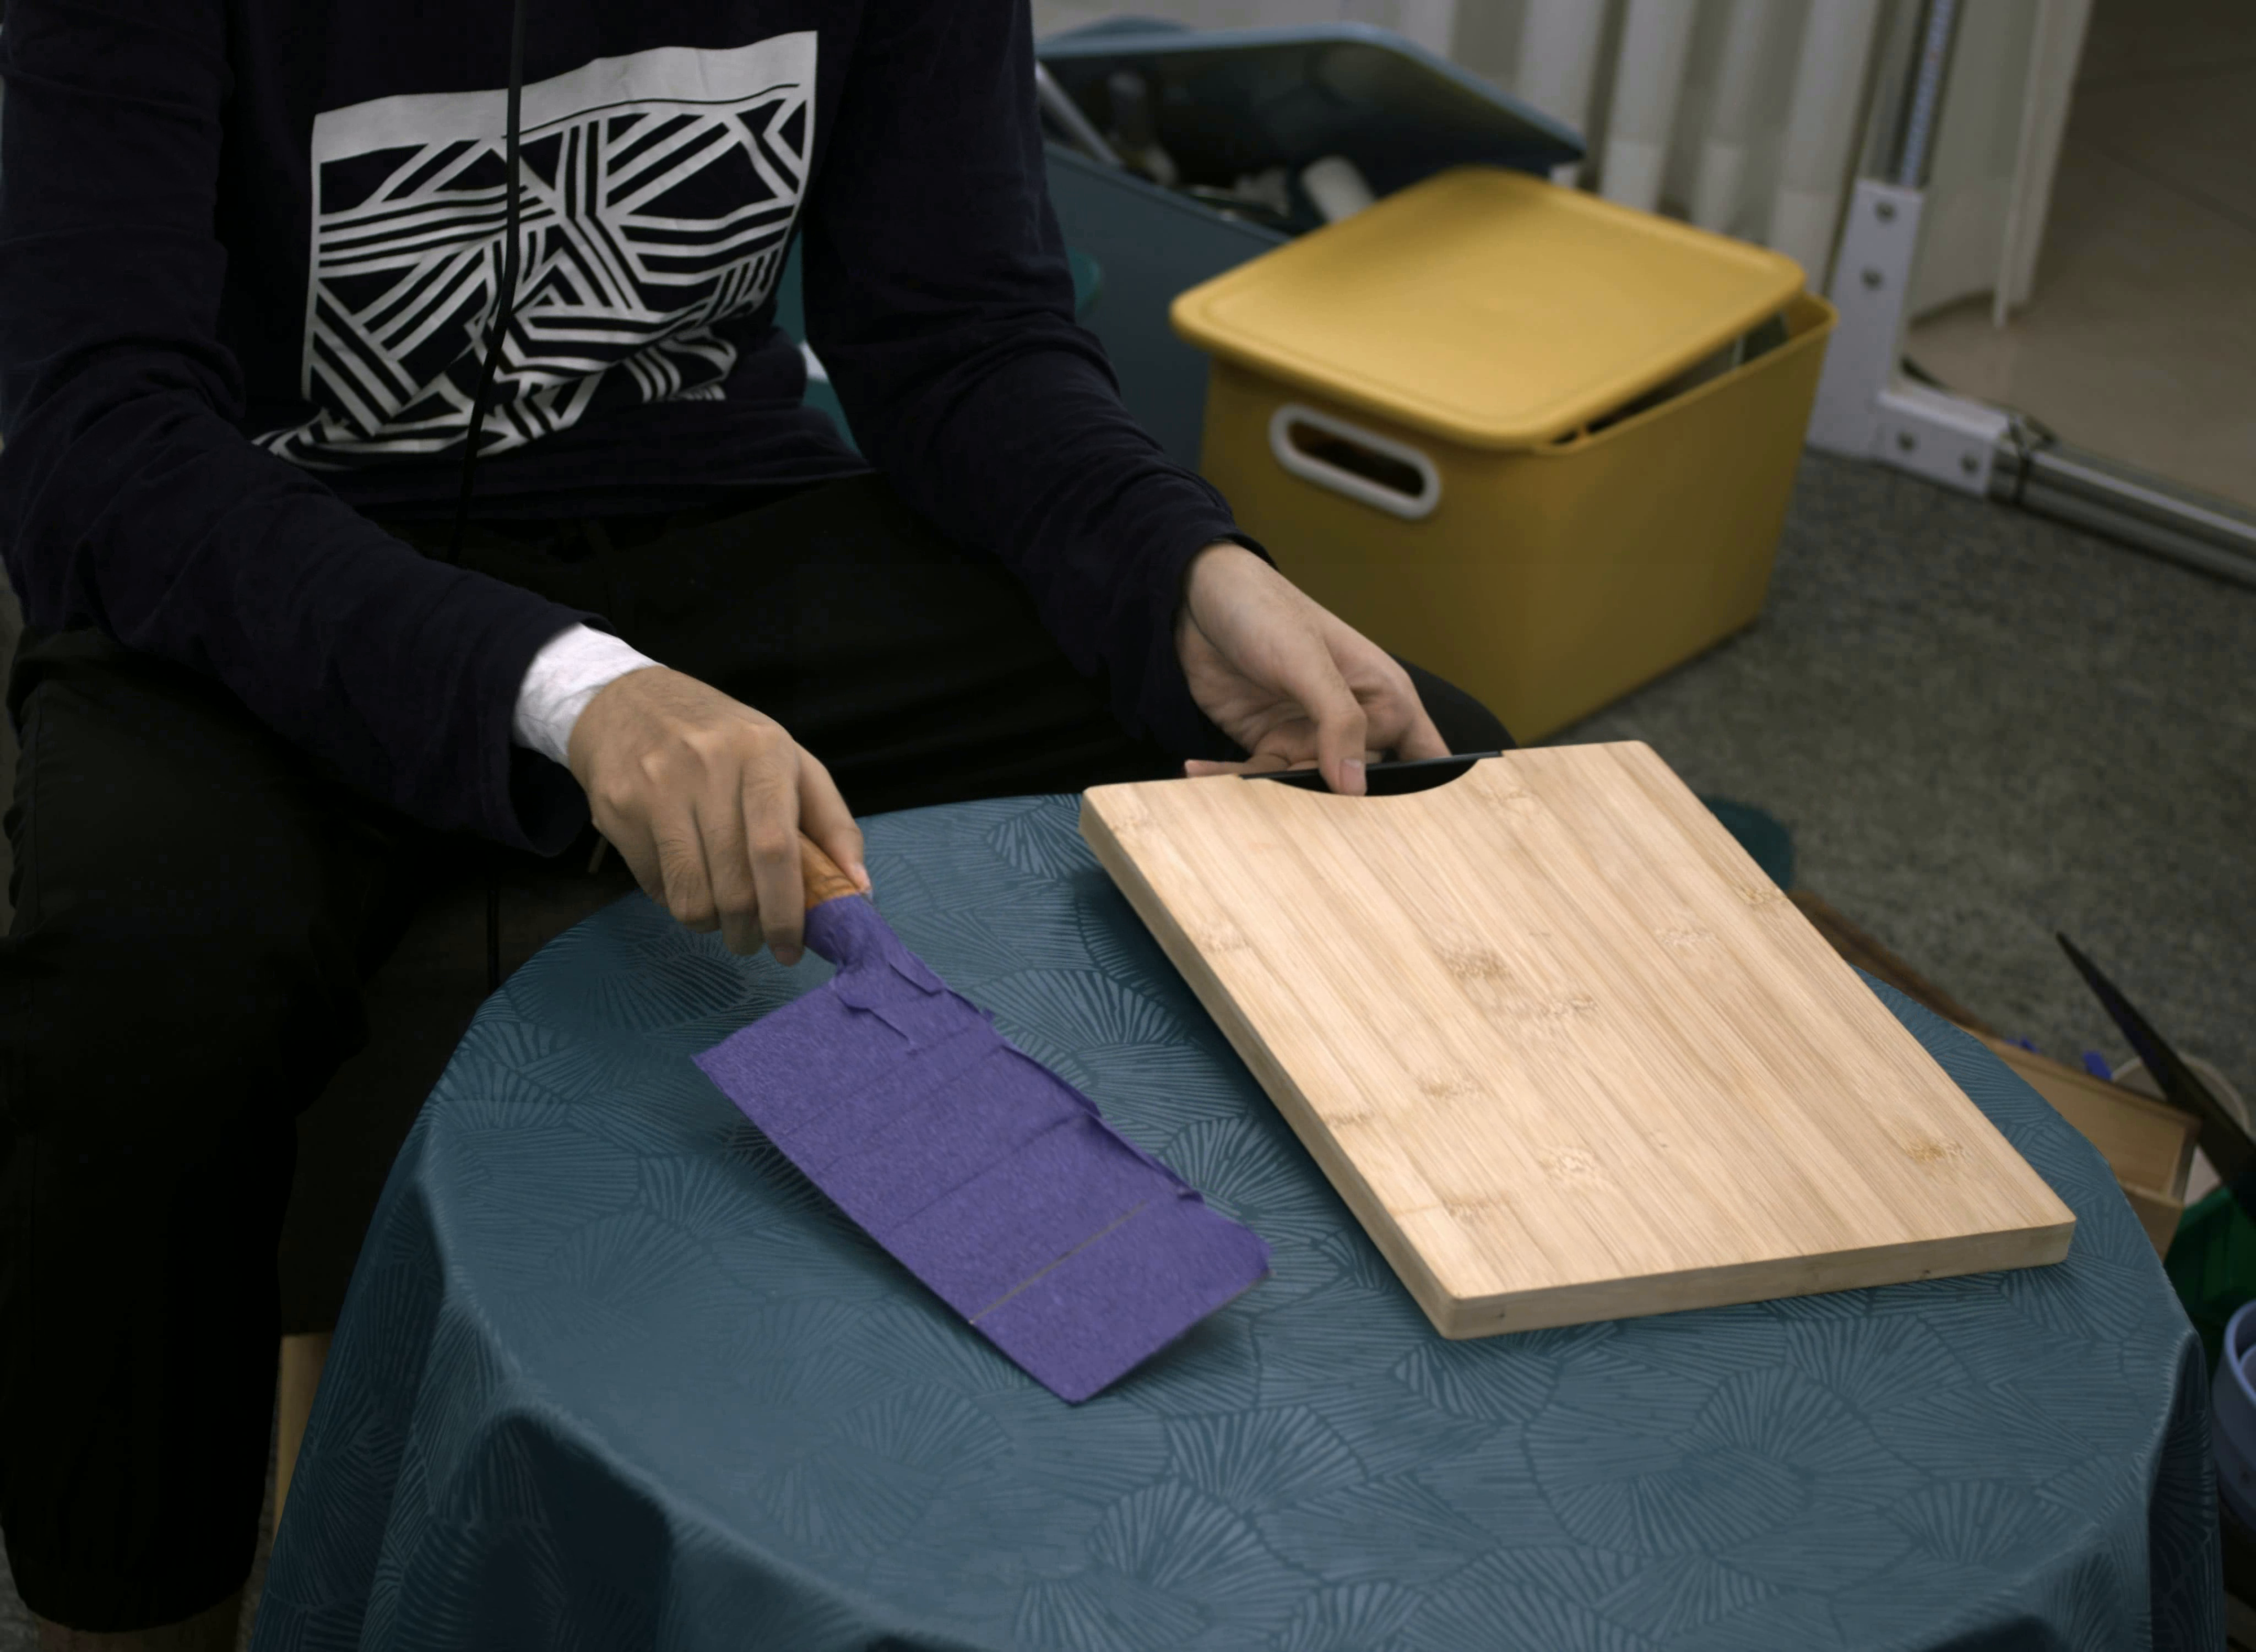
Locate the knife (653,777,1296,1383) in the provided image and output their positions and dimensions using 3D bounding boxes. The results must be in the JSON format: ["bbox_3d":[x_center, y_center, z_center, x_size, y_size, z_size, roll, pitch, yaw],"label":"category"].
[{"bbox_3d":[-0.082,0.081,1.793,0.103,0.032,0.318,-31,46,-26],"label":"knife"}]

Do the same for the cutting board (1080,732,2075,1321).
[{"bbox_3d":[0.153,0.065,1.919,0.249,0.023,0.352,-5,31,-22],"label":"cutting board"}]
